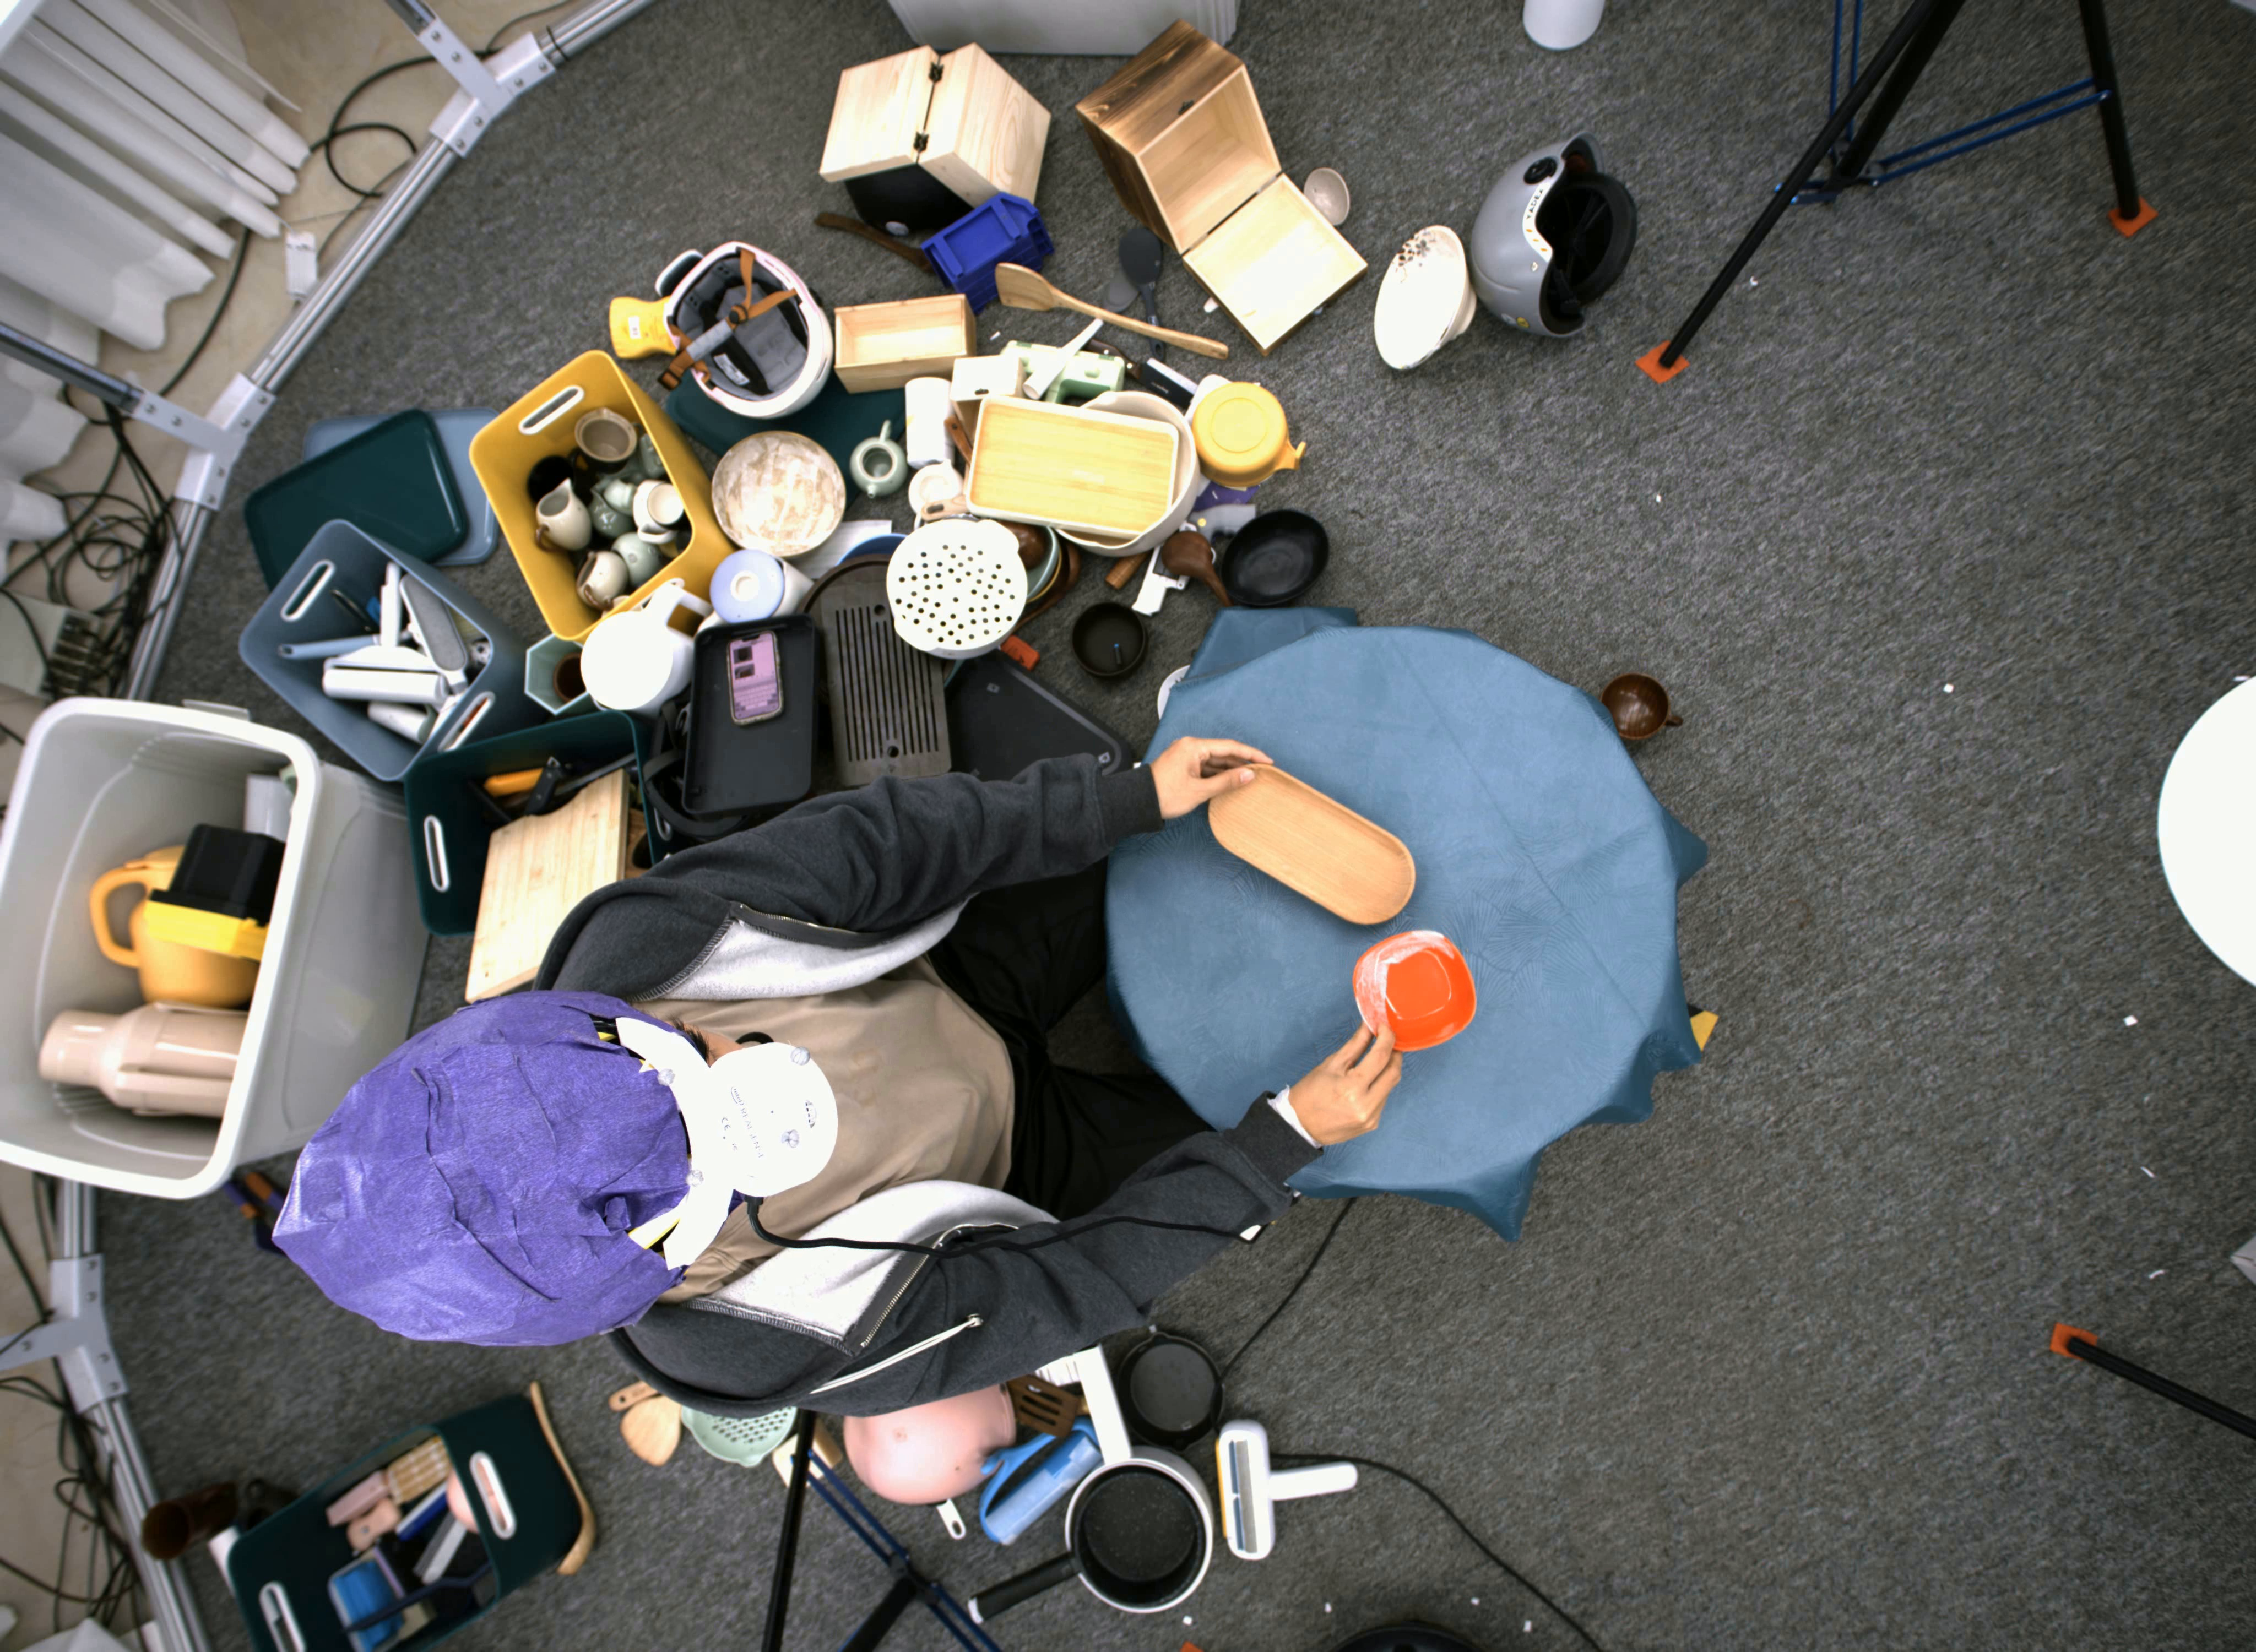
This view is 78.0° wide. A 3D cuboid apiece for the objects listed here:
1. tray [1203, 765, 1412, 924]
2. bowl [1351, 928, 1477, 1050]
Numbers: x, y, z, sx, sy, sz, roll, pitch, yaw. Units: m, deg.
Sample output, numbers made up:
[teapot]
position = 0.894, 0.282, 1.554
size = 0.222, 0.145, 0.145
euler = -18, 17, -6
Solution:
[tray]
position = 0.186, 0.018, 1.432
size = 0.231, 0.020, 0.102
euler = 29, 94, 4
[bowl]
position = 0.273, 0.151, 1.319
size = 0.119, 0.051, 0.119
euler = 1, 96, 13
